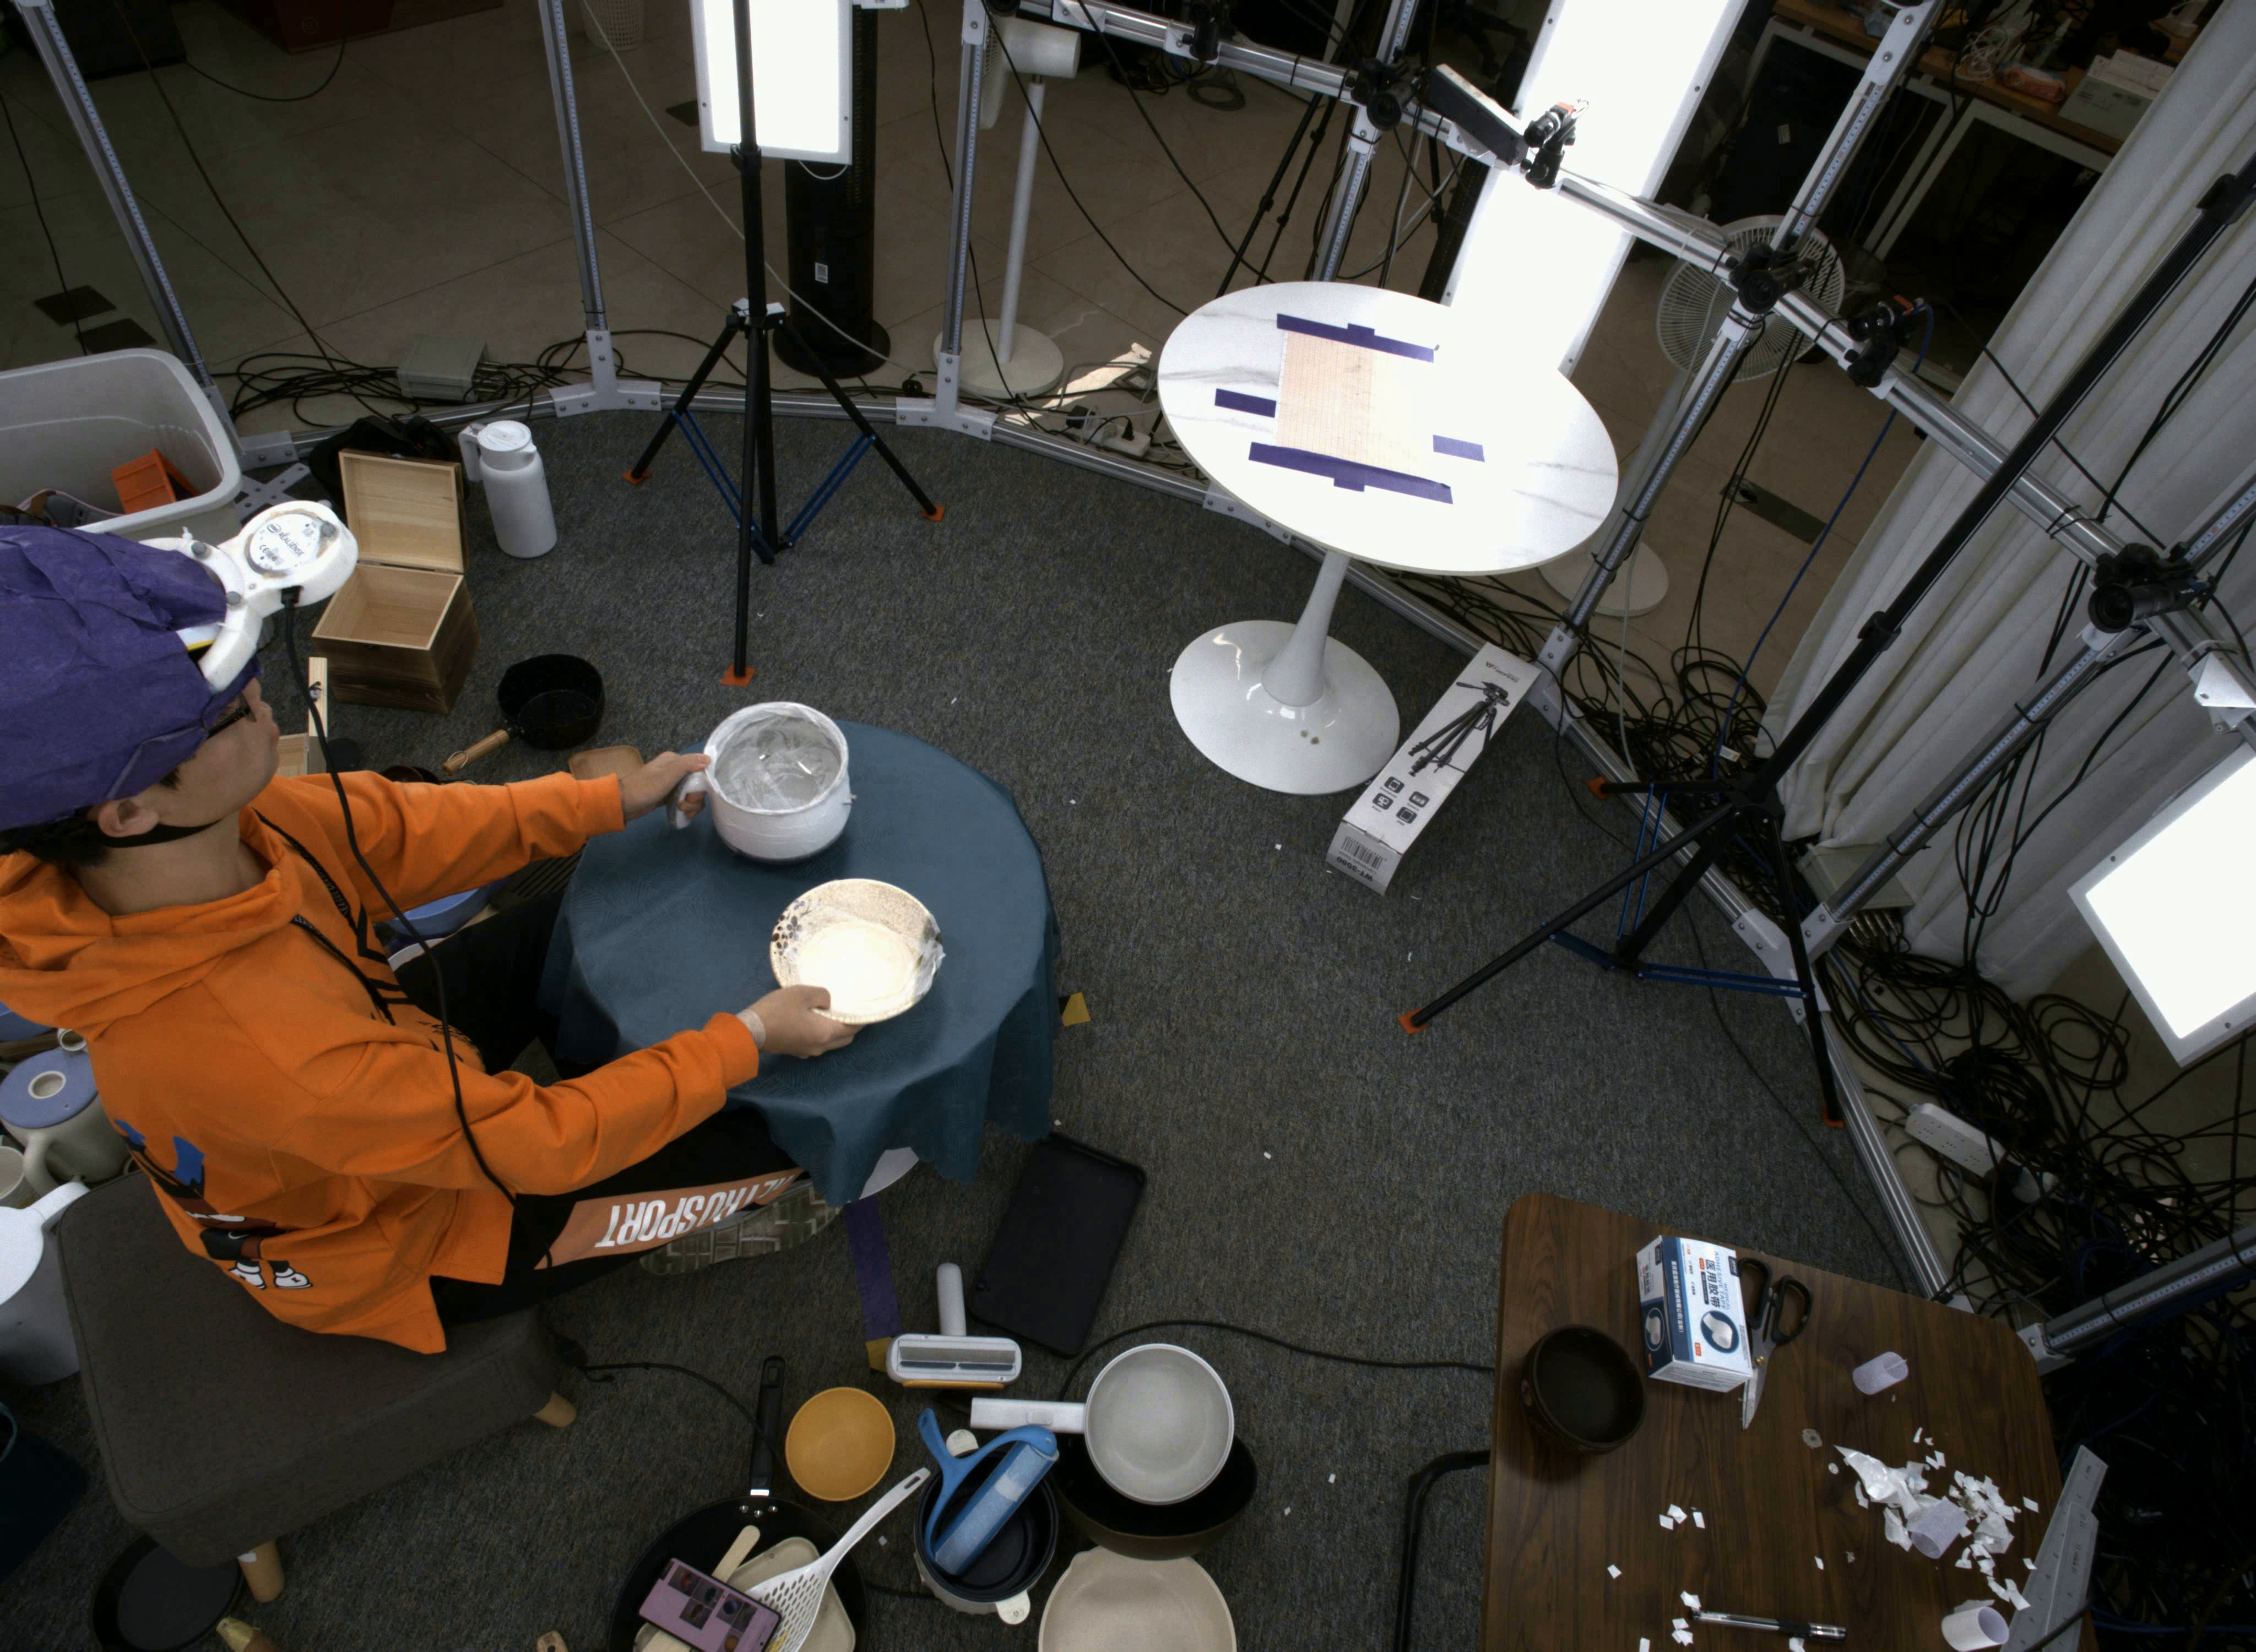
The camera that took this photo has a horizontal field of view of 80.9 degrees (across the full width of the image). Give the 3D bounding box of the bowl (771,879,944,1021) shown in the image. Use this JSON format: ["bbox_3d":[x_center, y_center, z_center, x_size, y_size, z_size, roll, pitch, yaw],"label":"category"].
[{"bbox_3d":[-0.323,0.165,1.565,0.203,0.080,0.200,7,50,-6],"label":"bowl"}]

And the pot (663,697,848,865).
[{"bbox_3d":[-0.471,-0.049,1.627,0.234,0.139,0.174,-9,57,-17],"label":"pot"}]
